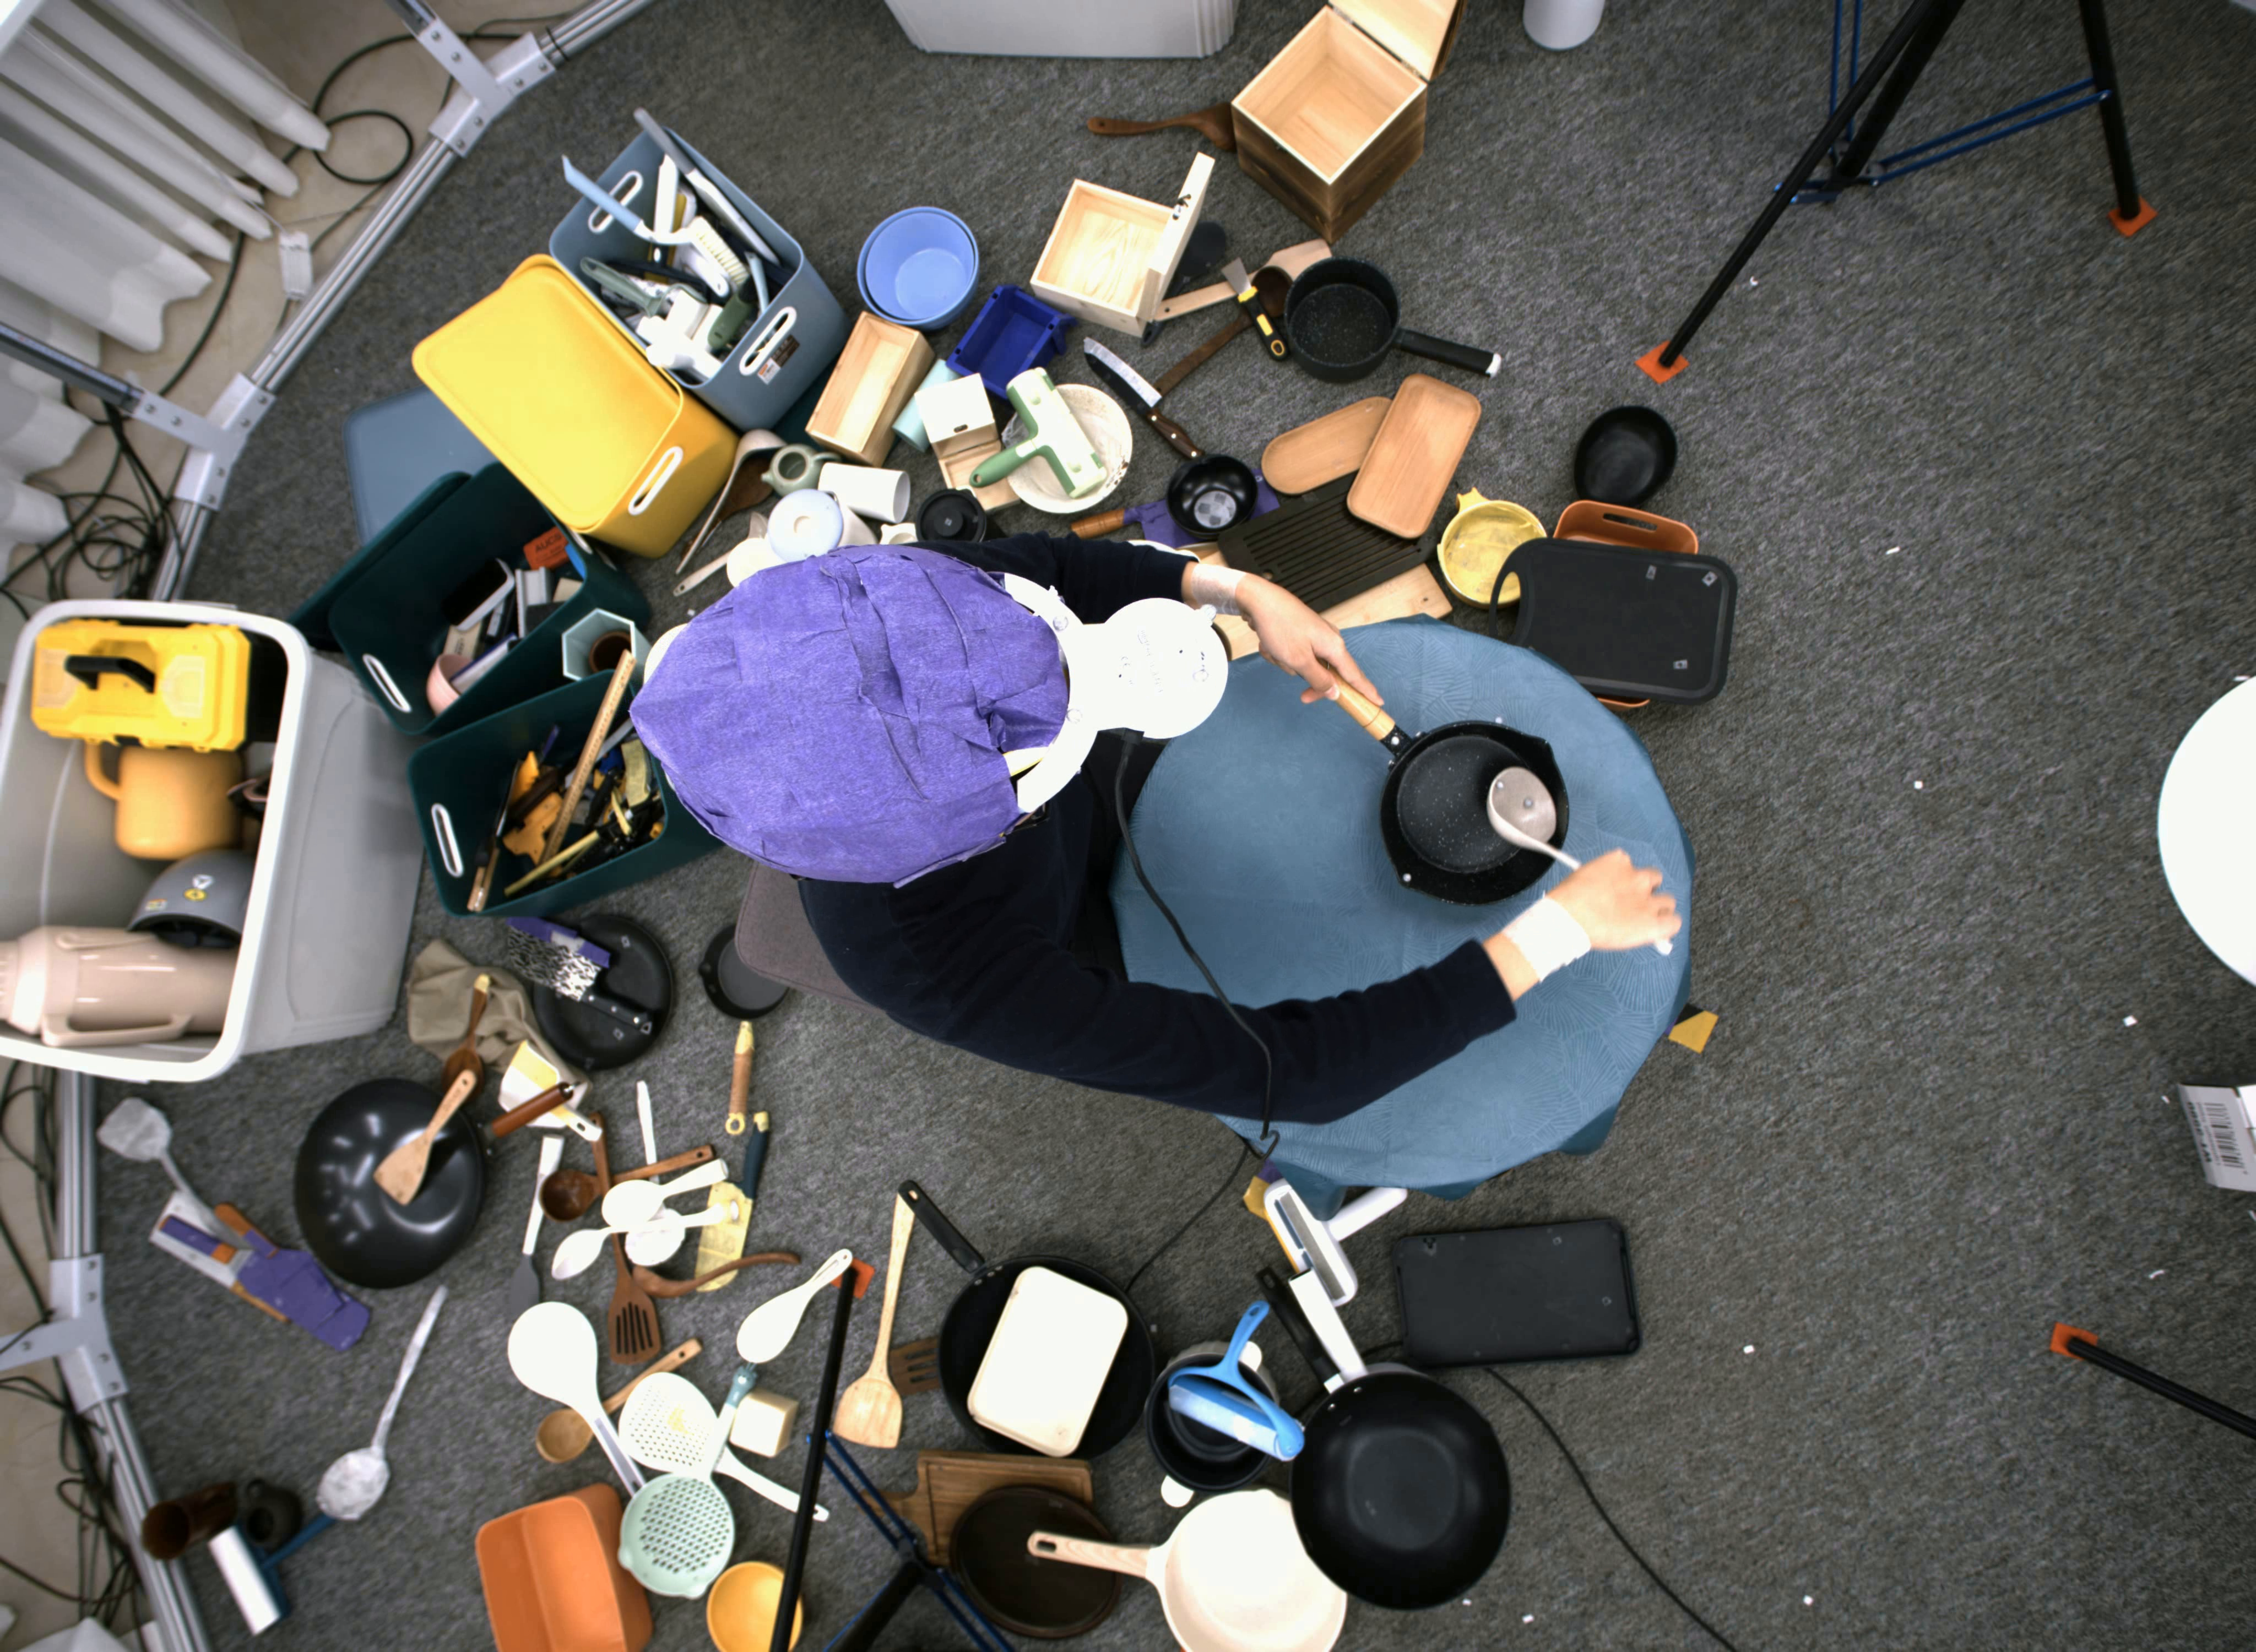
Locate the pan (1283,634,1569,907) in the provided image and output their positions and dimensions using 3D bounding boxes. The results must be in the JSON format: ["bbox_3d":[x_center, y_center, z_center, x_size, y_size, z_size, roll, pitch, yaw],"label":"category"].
[{"bbox_3d":[0.285,-0.070,1.380,0.343,0.107,0.210,42,105,-2],"label":"pan"}]

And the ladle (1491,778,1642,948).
[{"bbox_3d":[0.418,0.026,1.266,0.090,0.271,0.070,31,101,-20],"label":"ladle"}]
